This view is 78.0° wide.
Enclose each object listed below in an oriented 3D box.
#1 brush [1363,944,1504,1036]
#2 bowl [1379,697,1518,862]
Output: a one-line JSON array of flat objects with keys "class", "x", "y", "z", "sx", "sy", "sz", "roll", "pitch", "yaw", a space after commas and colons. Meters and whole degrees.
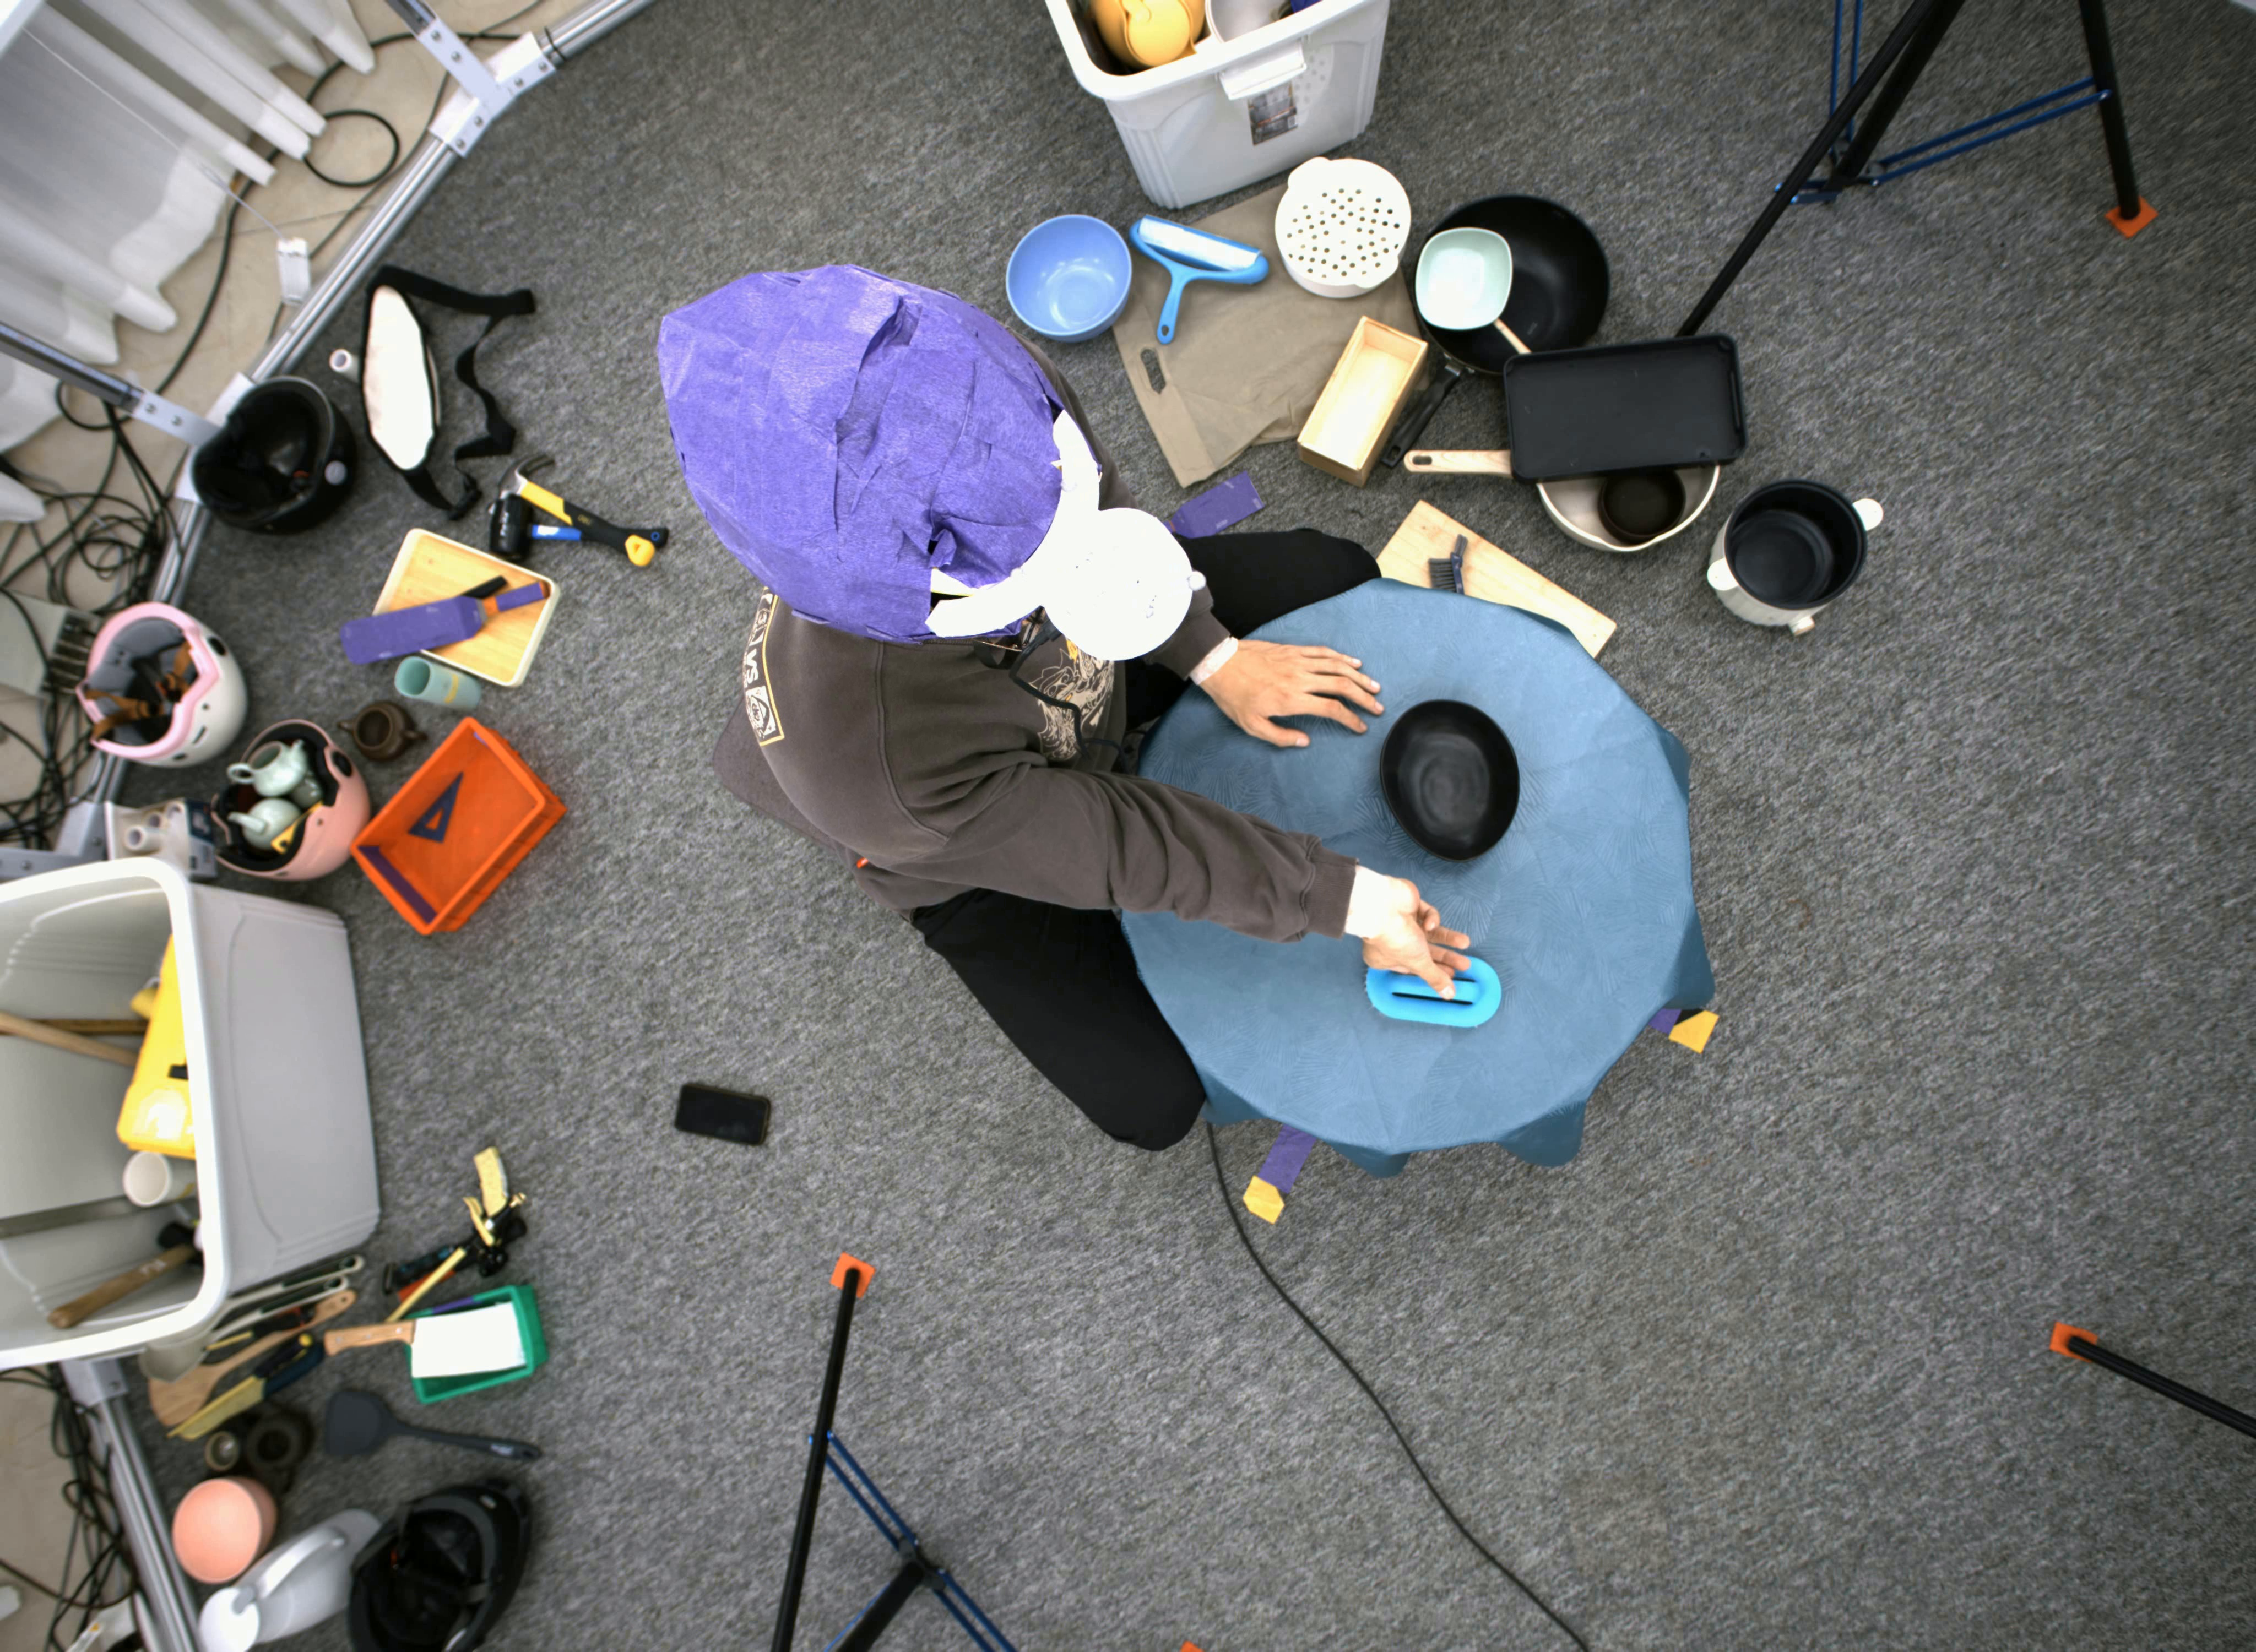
[{"class": "brush", "x": 0.313, "y": 0.165, "z": 1.412, "sx": 0.142, "sy": 0.064, "sz": 0.084, "roll": 8, "pitch": 83, "yaw": 10}, {"class": "bowl", "x": 0.331, "y": -0.049, "z": 1.420, "sx": 0.138, "sy": 0.066, "sz": 0.169, "roll": -16, "pitch": 86, "yaw": 10}]
